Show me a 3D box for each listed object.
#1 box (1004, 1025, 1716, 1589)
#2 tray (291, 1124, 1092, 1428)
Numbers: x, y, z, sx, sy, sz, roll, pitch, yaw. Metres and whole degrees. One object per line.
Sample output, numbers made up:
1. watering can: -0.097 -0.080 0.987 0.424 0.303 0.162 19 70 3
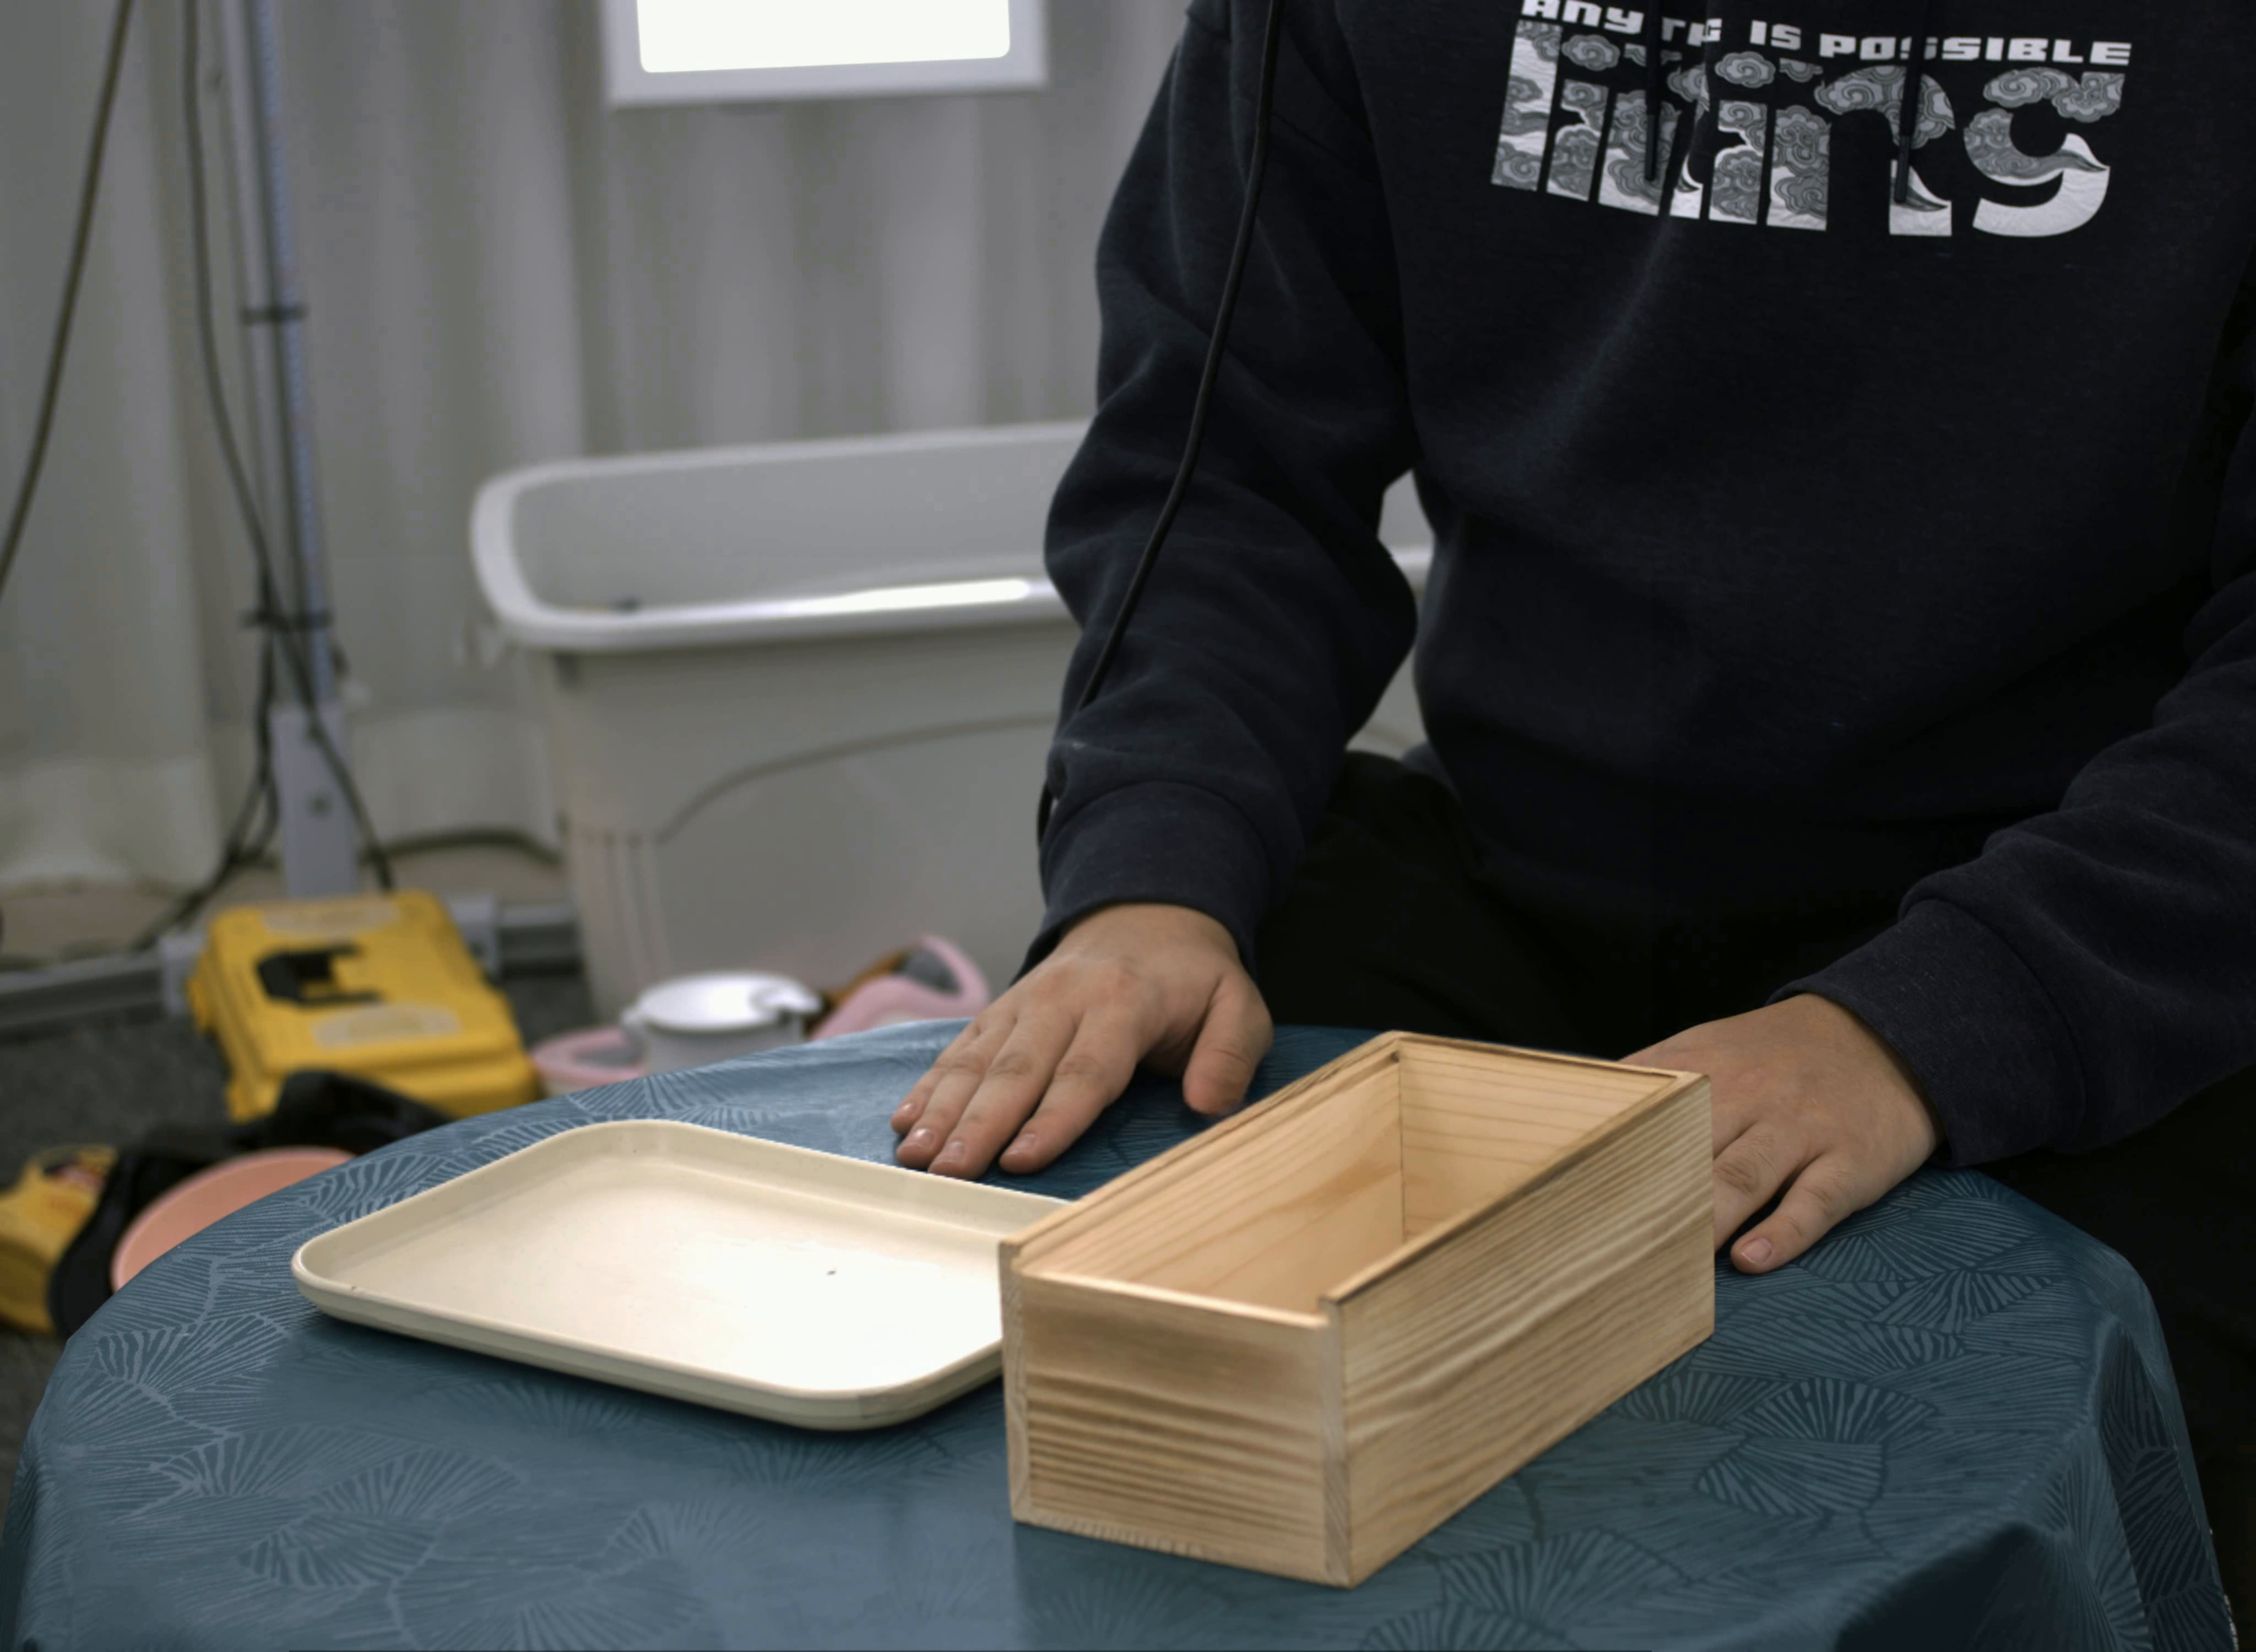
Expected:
1. box: 0.068 0.127 1.503 0.108 0.080 0.211 7 17 31
2. tray: -0.117 0.133 1.634 0.240 0.017 0.171 8 18 35
